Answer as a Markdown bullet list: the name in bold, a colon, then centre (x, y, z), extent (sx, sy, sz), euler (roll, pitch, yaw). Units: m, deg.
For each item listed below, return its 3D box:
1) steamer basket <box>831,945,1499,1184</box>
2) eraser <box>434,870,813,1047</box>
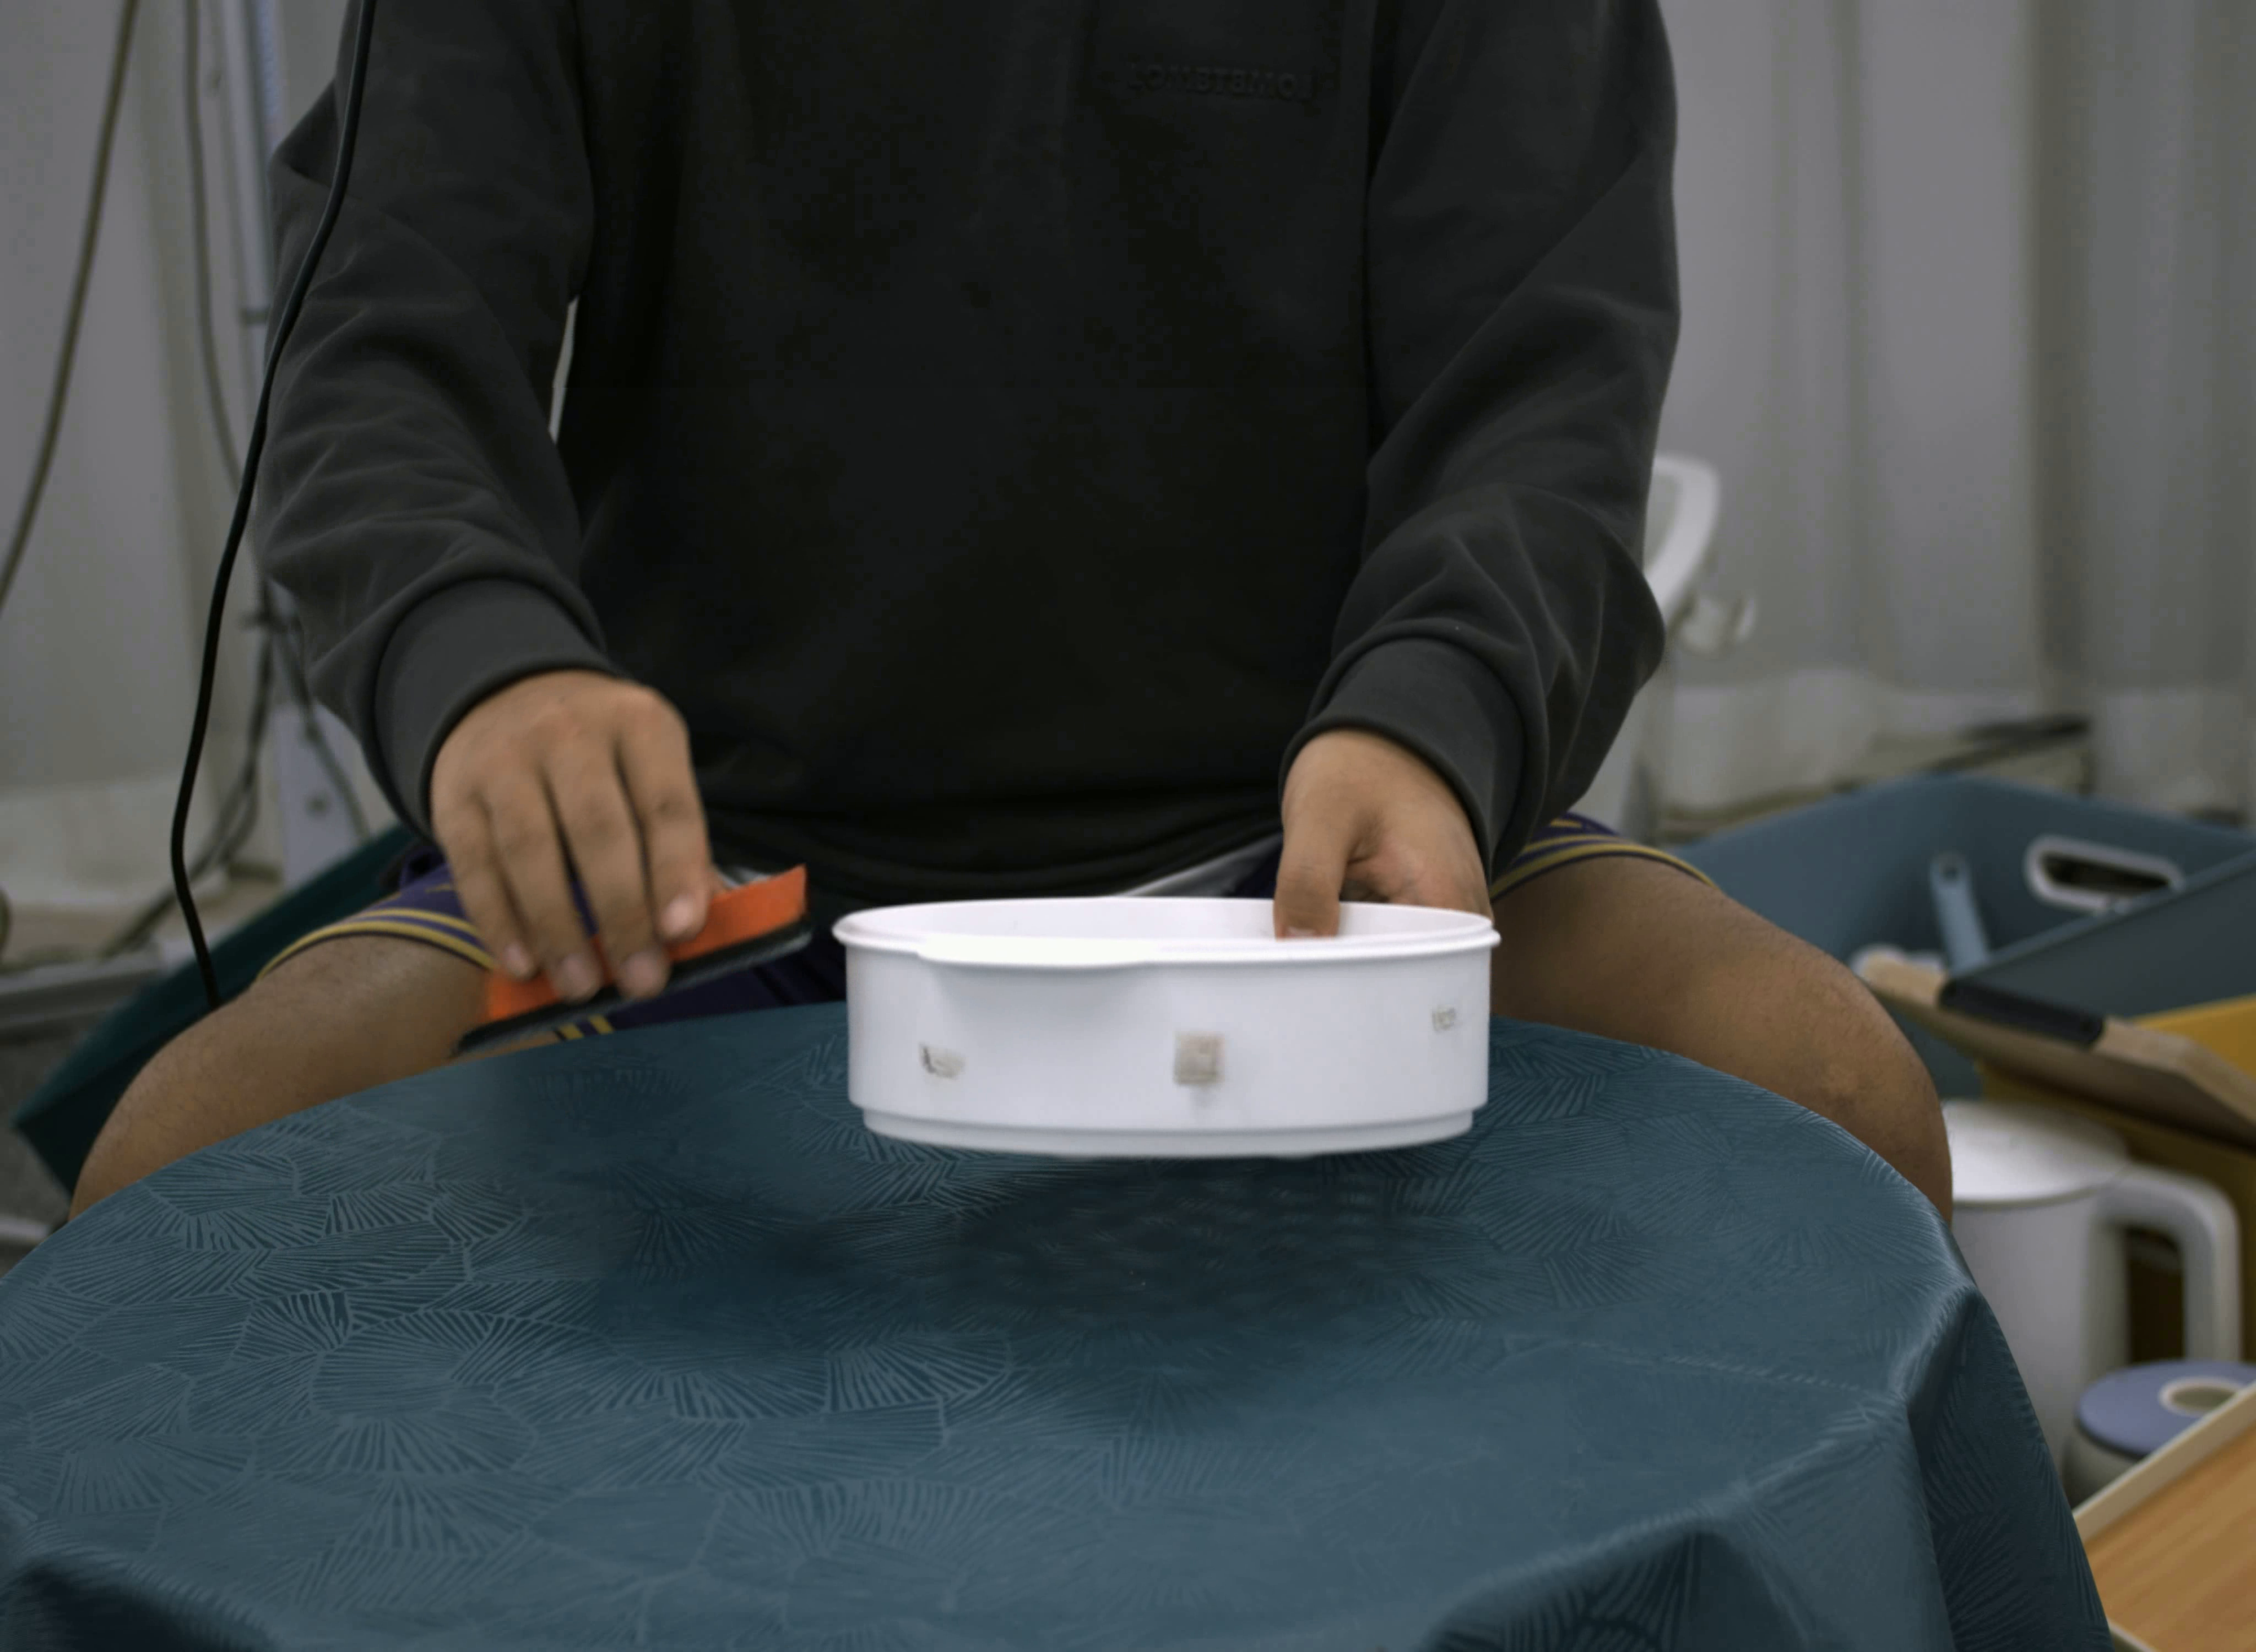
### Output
- **steamer basket**: centre (0.012, 0.071, 1.646), extent (0.202, 0.069, 0.229), euler (-2, -1, 24)
- **eraser**: centre (-0.152, 0.040, 1.660), extent (0.108, 0.023, 0.059), euler (-19, -5, 11)
